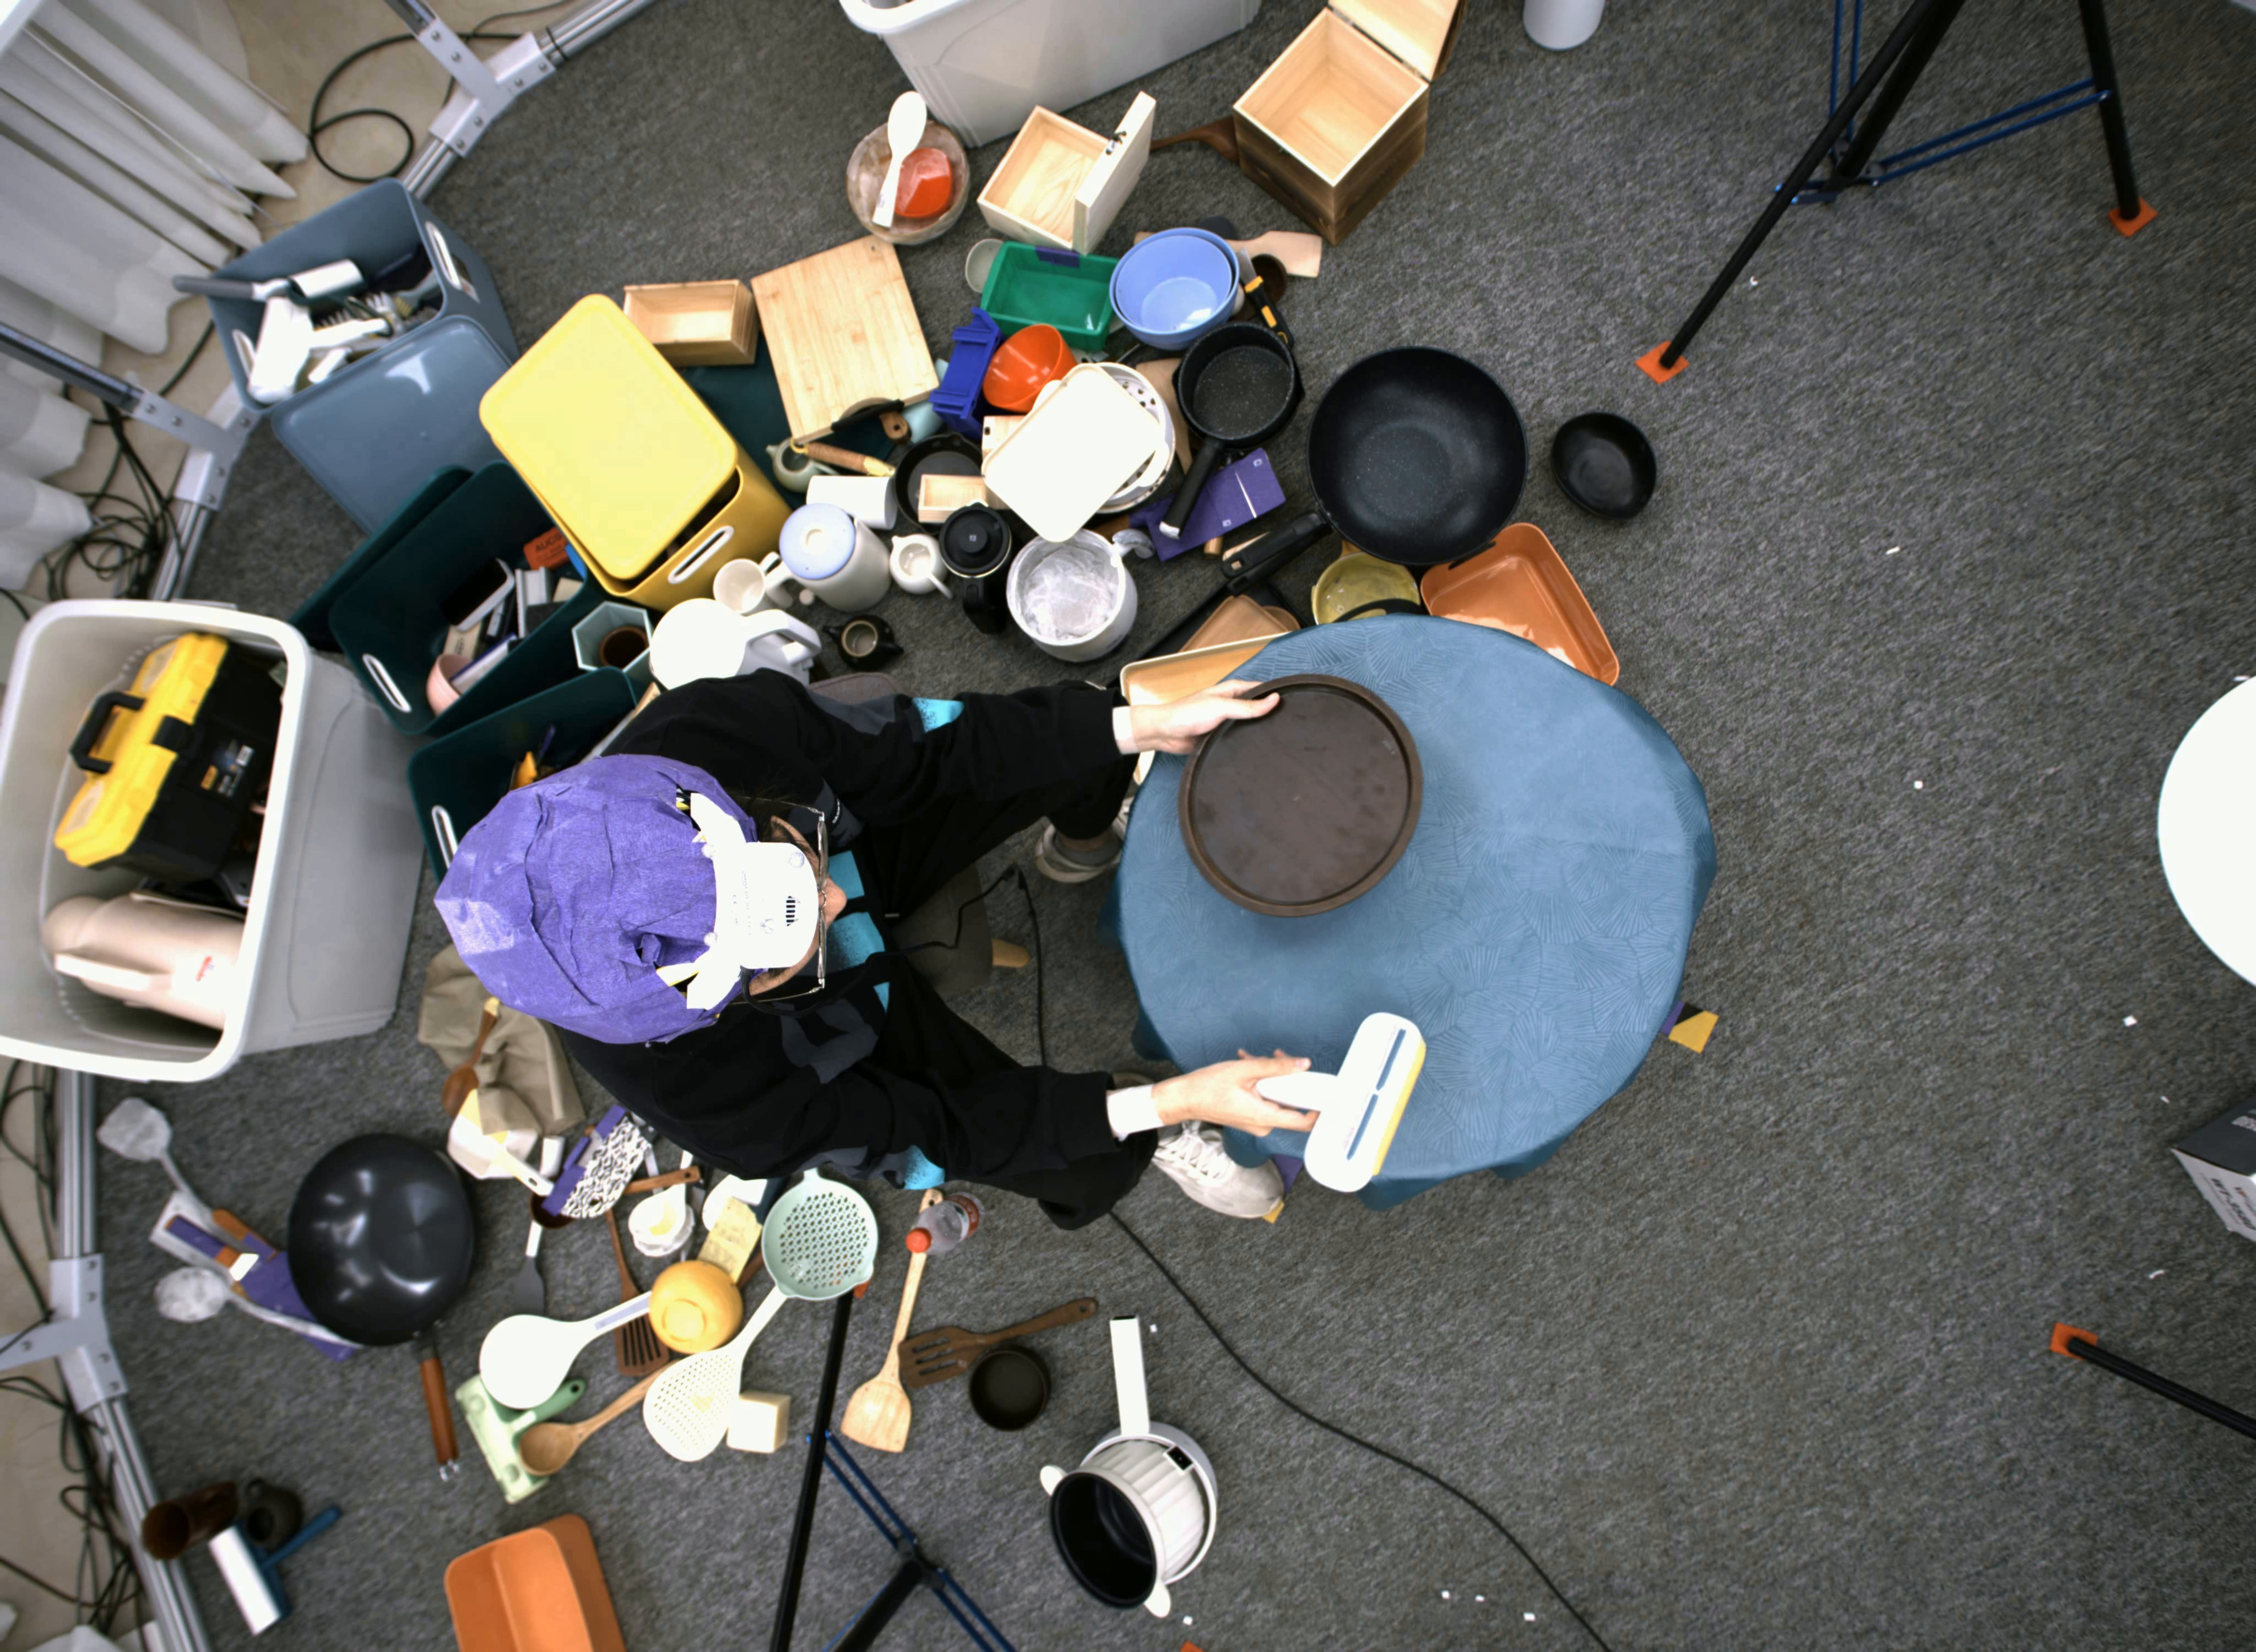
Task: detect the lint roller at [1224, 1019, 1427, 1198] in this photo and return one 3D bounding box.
[{"bbox_3d":[0.179,0.259,1.362,0.192,0.076,0.188,15,56,28],"label":"lint roller"}]

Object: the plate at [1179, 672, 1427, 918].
[{"bbox_3d":[0.173,-0.032,1.382,0.257,0.029,0.252,-6,77,23],"label":"plate"}]
